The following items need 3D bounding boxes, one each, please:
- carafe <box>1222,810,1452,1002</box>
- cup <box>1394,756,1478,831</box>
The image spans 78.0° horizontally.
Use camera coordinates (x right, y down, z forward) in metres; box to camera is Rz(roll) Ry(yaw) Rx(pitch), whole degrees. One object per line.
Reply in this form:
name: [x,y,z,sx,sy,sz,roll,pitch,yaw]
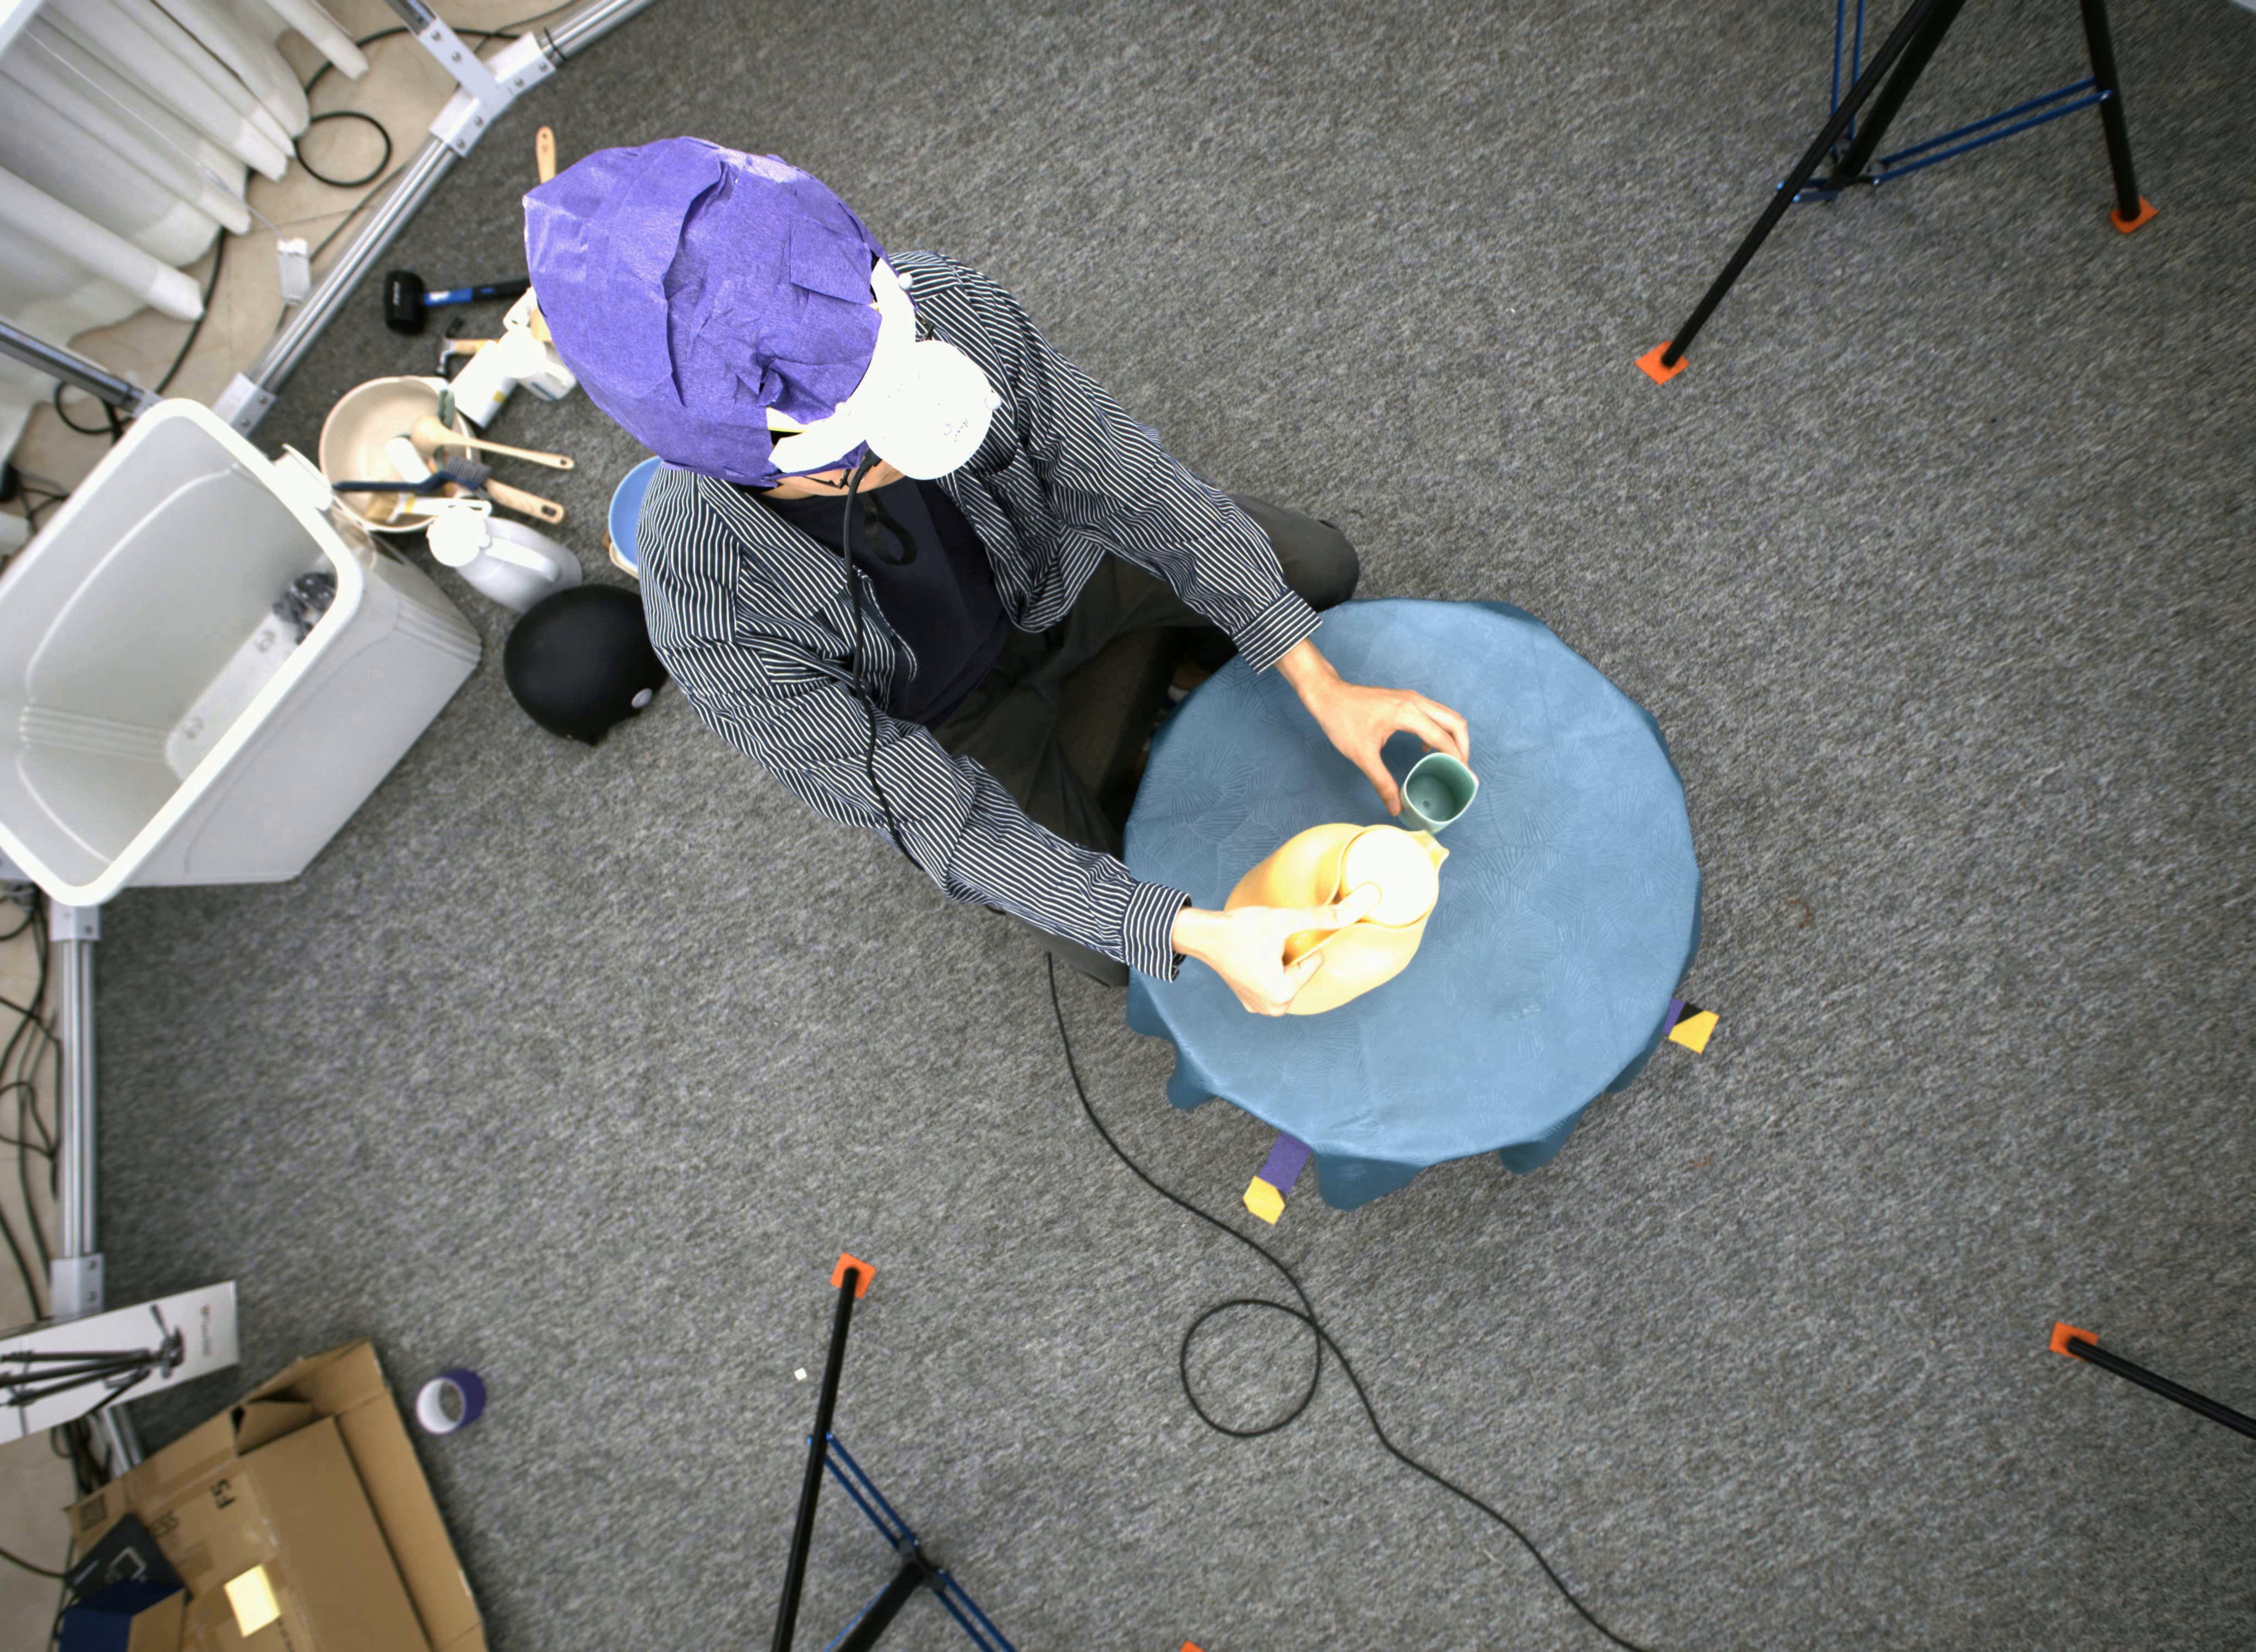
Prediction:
carafe: [0.184,0.077,1.297,0.199,0.265,0.163,-36,85,-23]
cup: [0.296,-0.030,1.340,0.067,0.132,0.066,0,86,6]
